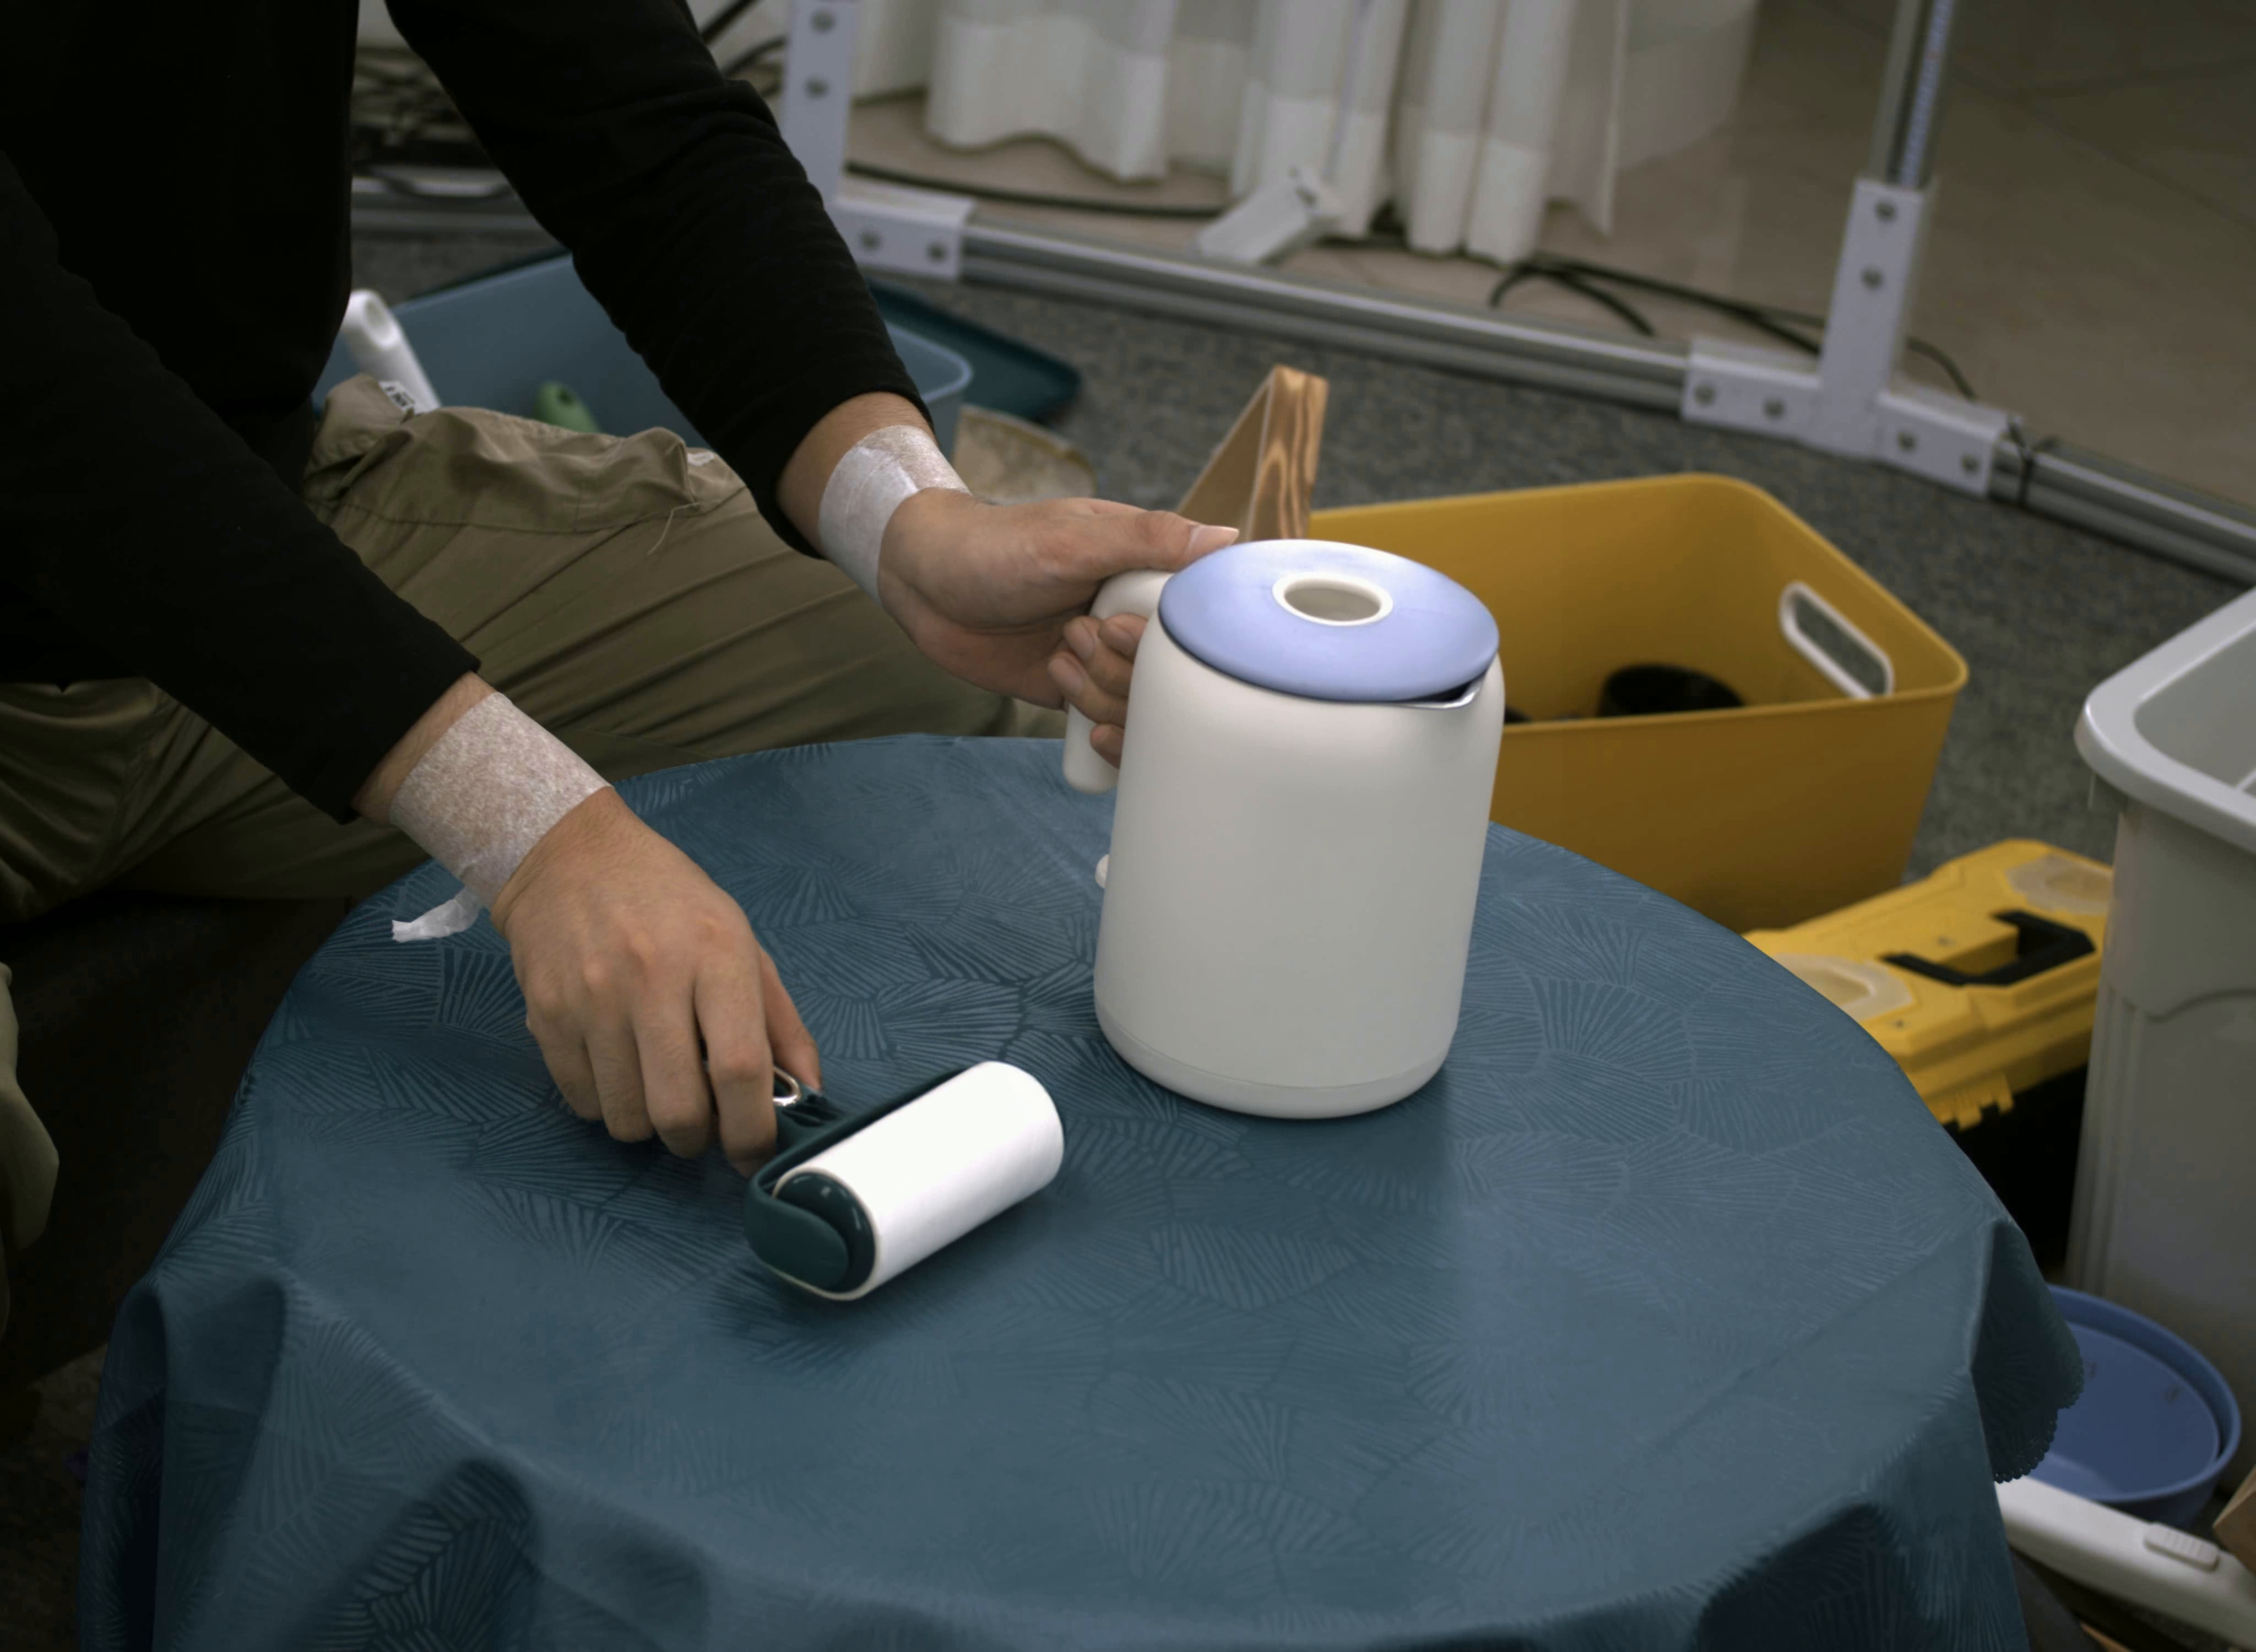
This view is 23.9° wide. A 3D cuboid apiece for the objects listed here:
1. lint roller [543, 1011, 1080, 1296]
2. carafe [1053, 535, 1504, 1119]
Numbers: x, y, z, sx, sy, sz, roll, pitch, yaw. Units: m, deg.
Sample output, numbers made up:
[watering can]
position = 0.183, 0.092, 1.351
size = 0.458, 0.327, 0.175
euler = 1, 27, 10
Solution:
[lint roller]
position = -0.123, 0.087, 1.779
size = 0.181, 0.048, 0.134
euler = 28, 33, 27
[carafe]
position = 0.044, -0.010, 1.884
size = 0.131, 0.182, 0.192
euler = -17, 33, -40
